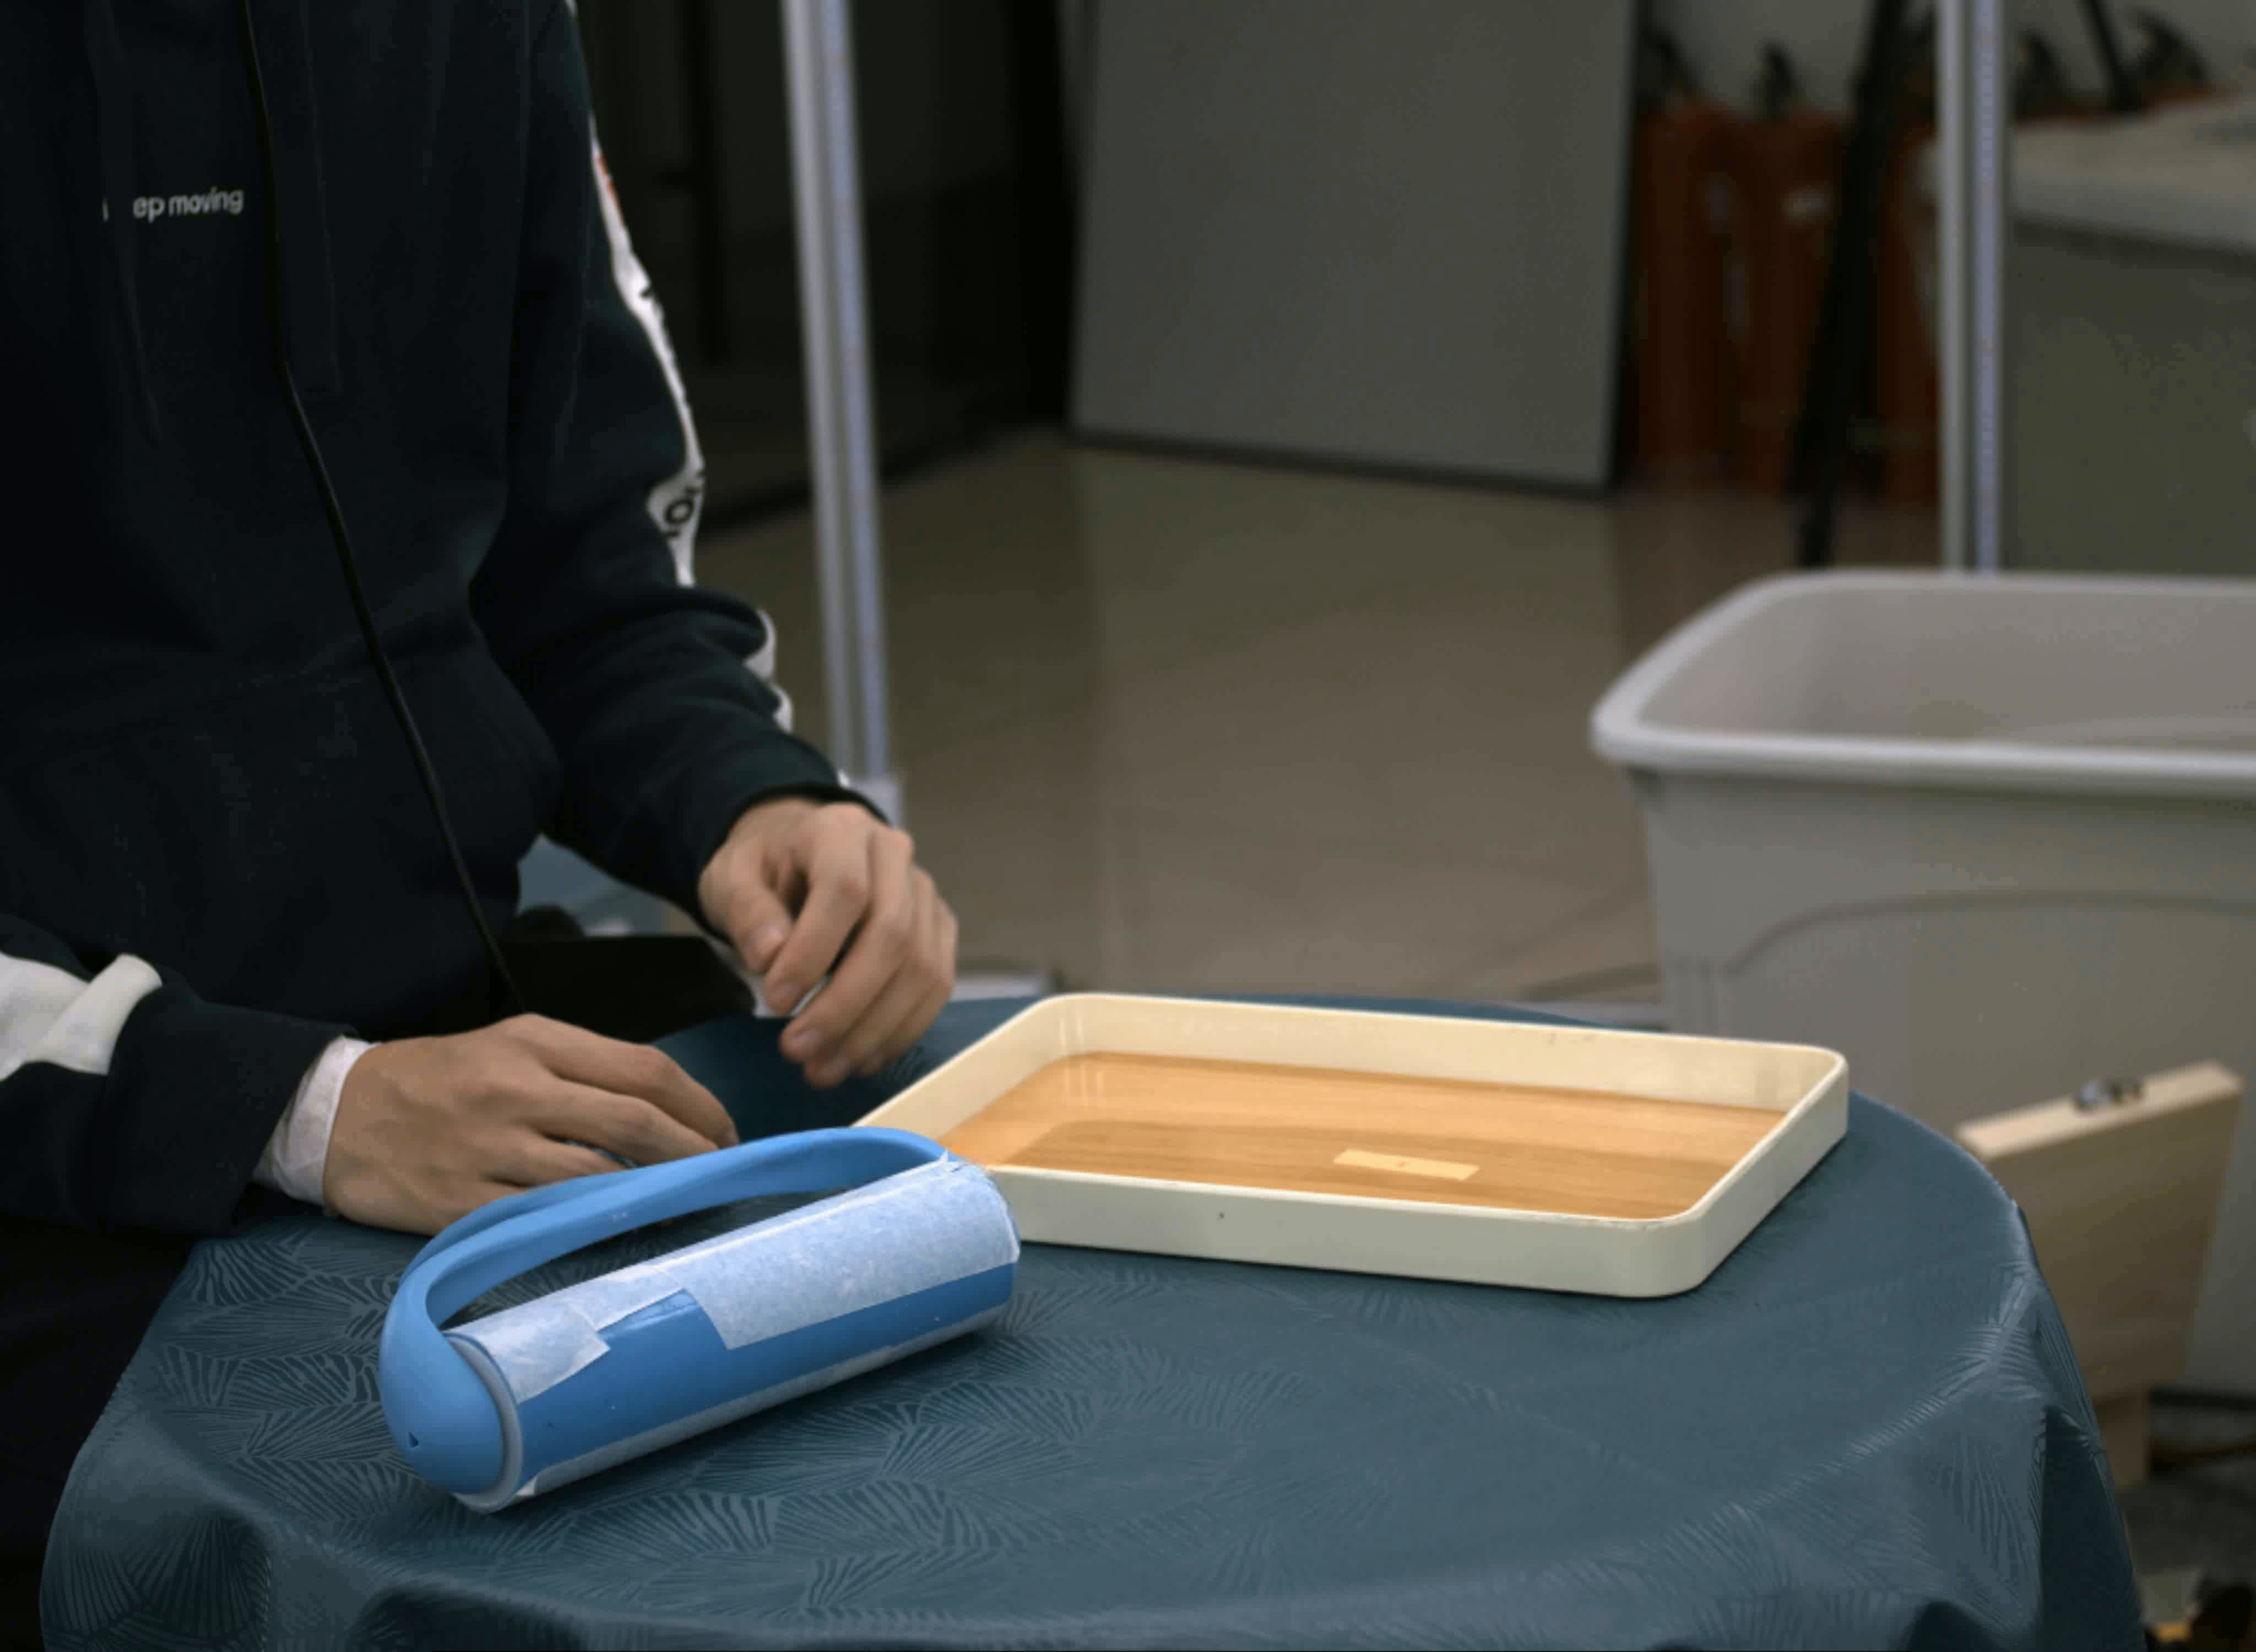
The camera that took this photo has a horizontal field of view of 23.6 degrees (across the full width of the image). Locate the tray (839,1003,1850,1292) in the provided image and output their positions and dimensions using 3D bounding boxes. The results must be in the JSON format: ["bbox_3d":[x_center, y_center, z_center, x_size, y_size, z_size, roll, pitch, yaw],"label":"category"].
[{"bbox_3d":[0.072,0.103,1.769,0.301,0.028,0.189,3,15,26],"label":"tray"}]

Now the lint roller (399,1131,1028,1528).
[{"bbox_3d":[-0.159,0.141,1.623,0.182,0.068,0.224,9,21,42],"label":"lint roller"}]
